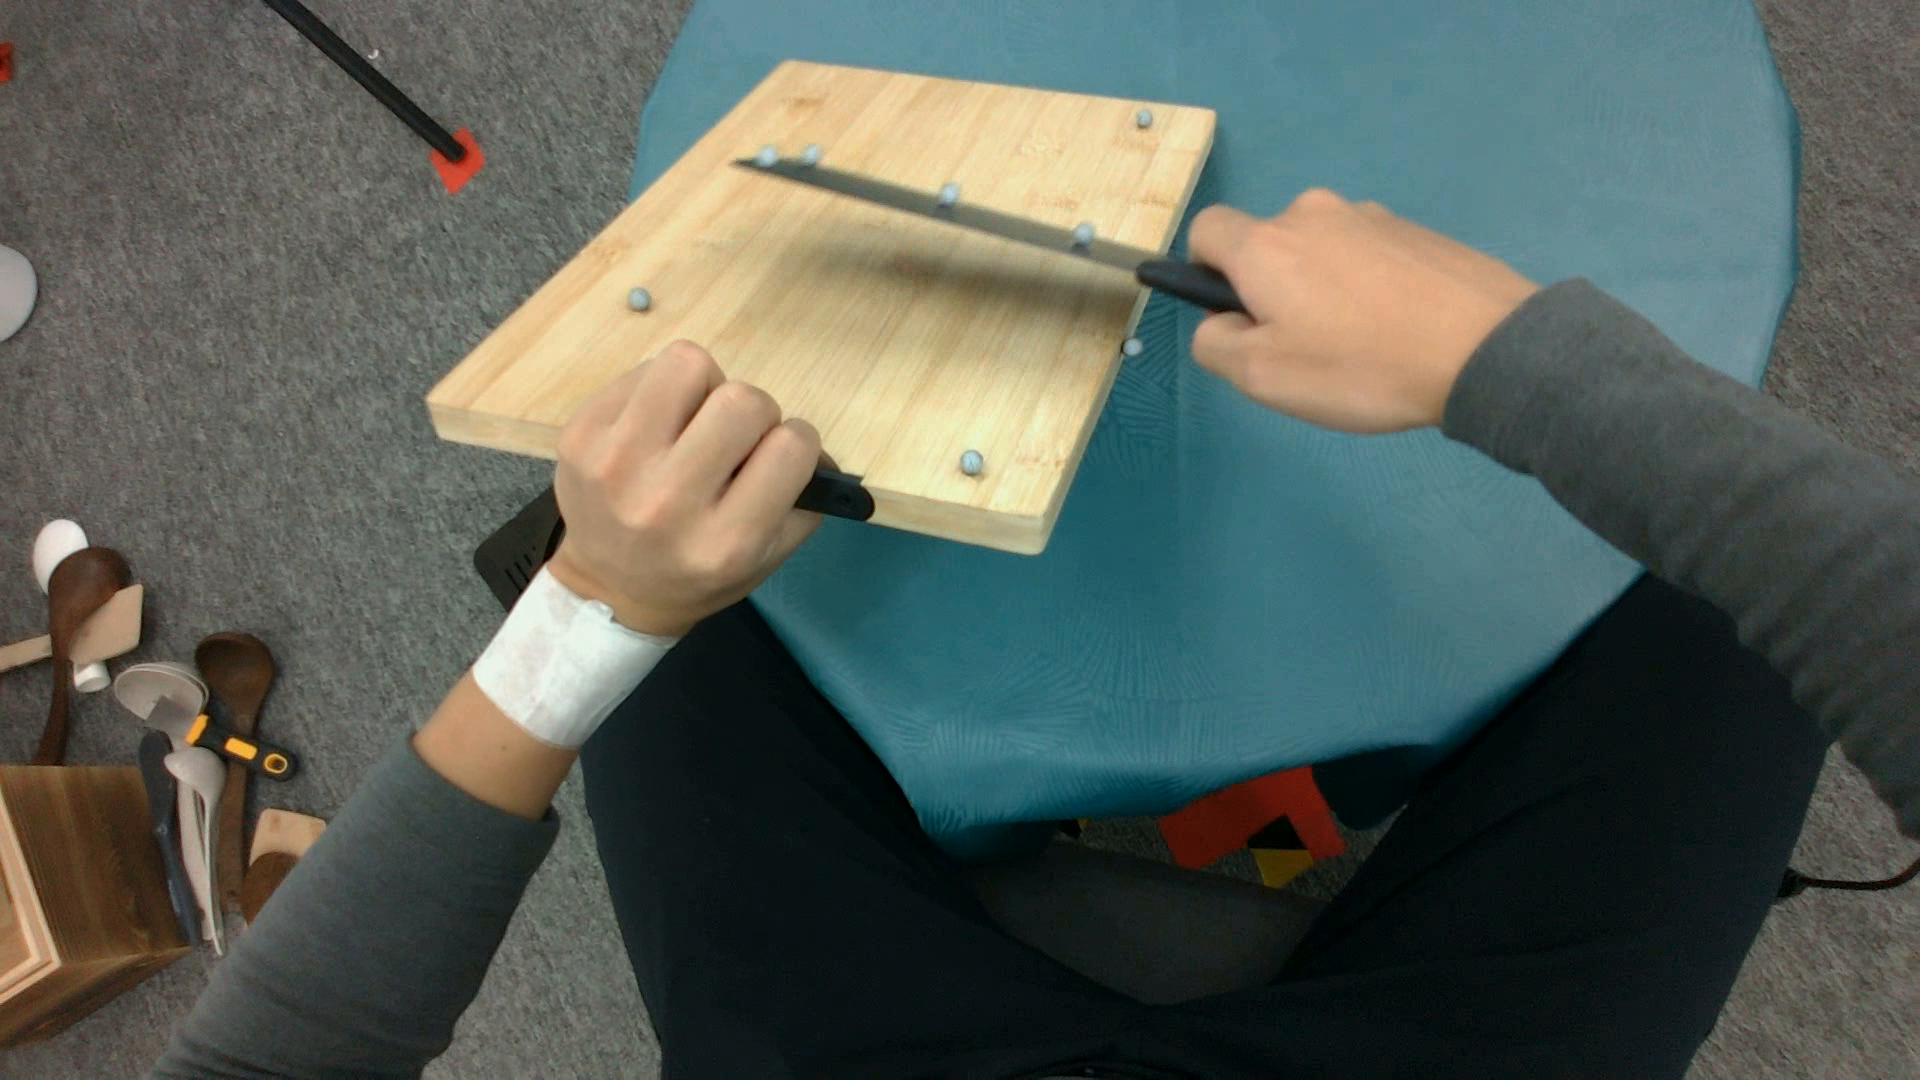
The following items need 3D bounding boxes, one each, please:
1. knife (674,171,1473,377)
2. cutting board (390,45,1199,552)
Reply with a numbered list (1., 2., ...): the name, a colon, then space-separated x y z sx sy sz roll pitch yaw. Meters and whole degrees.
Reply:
1. knife: 0.039 -0.107 0.521 0.302 0.081 0.021 16 112 13
2. cutting board: -0.044 -0.132 0.610 0.250 0.023 0.350 10 42 12
